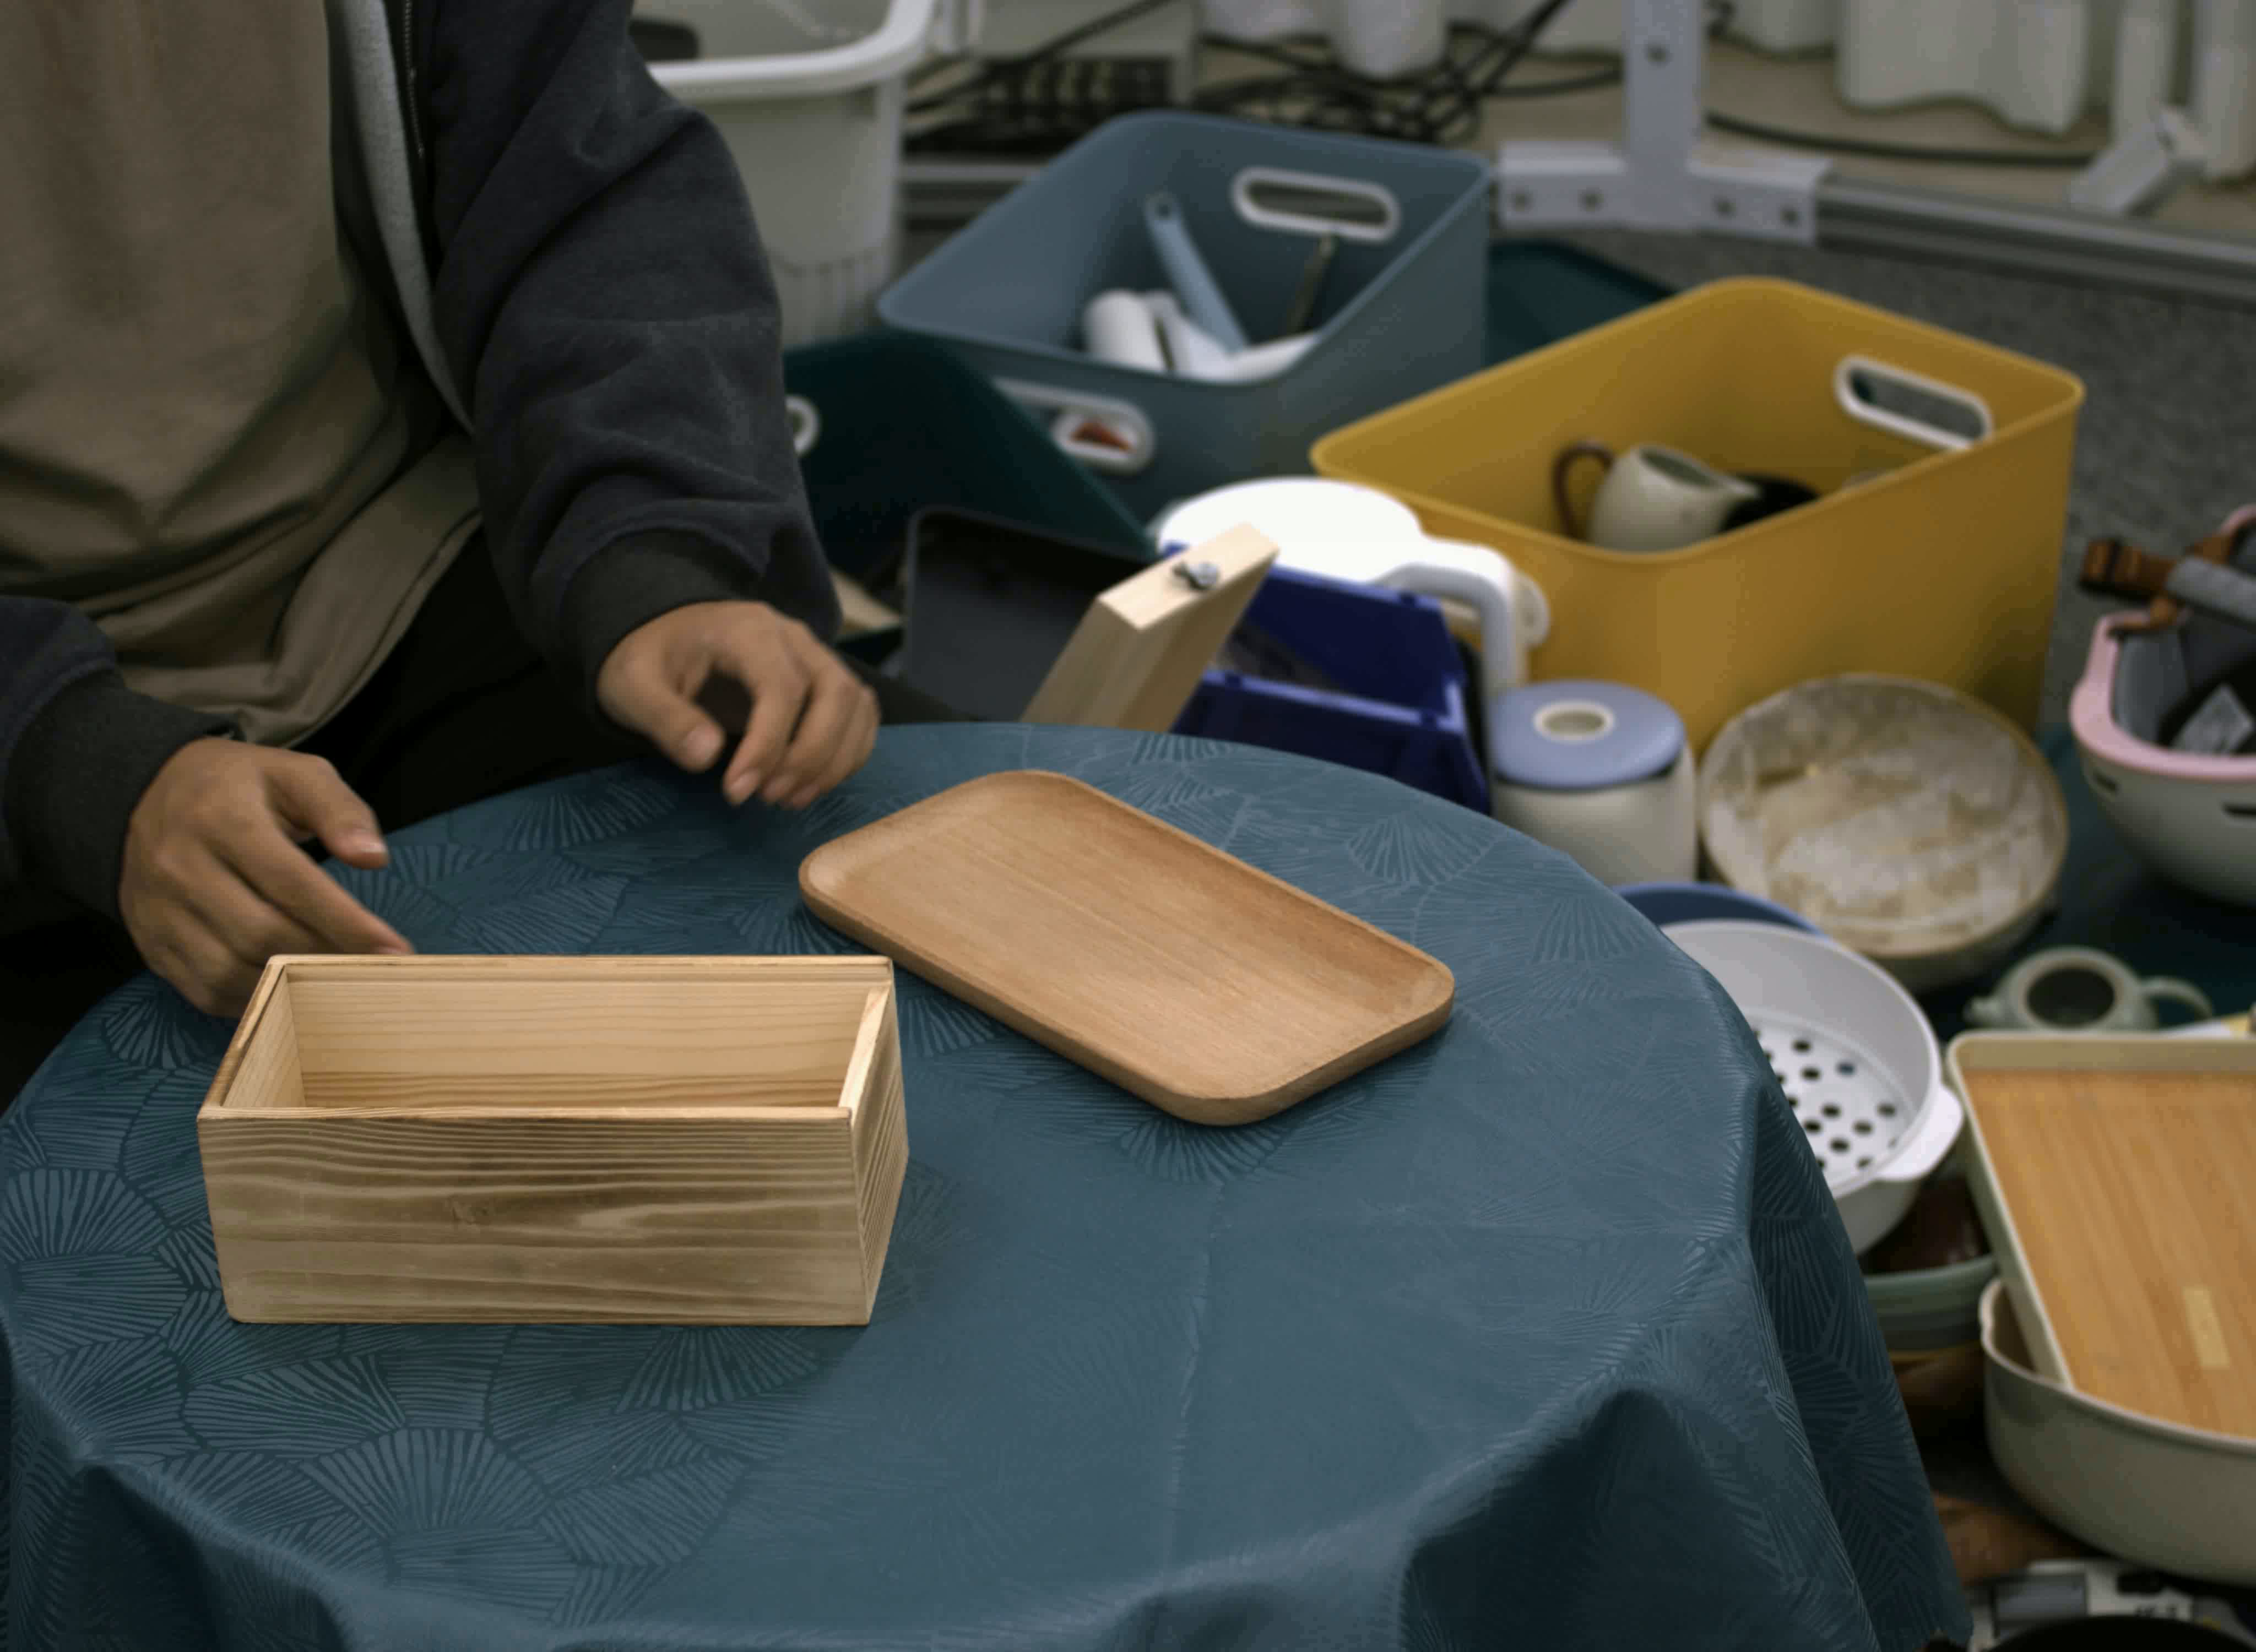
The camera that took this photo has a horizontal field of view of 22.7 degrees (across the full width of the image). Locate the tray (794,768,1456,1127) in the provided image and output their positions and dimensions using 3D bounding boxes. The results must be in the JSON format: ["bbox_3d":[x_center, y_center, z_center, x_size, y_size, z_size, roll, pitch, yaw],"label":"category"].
[{"bbox_3d":[-0.004,0.041,1.999,0.132,0.022,0.250,-21,32,-35],"label":"tray"}]

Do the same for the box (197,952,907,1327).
[{"bbox_3d":[-0.185,0.102,1.834,0.210,0.079,0.109,0,27,5],"label":"box"}]
